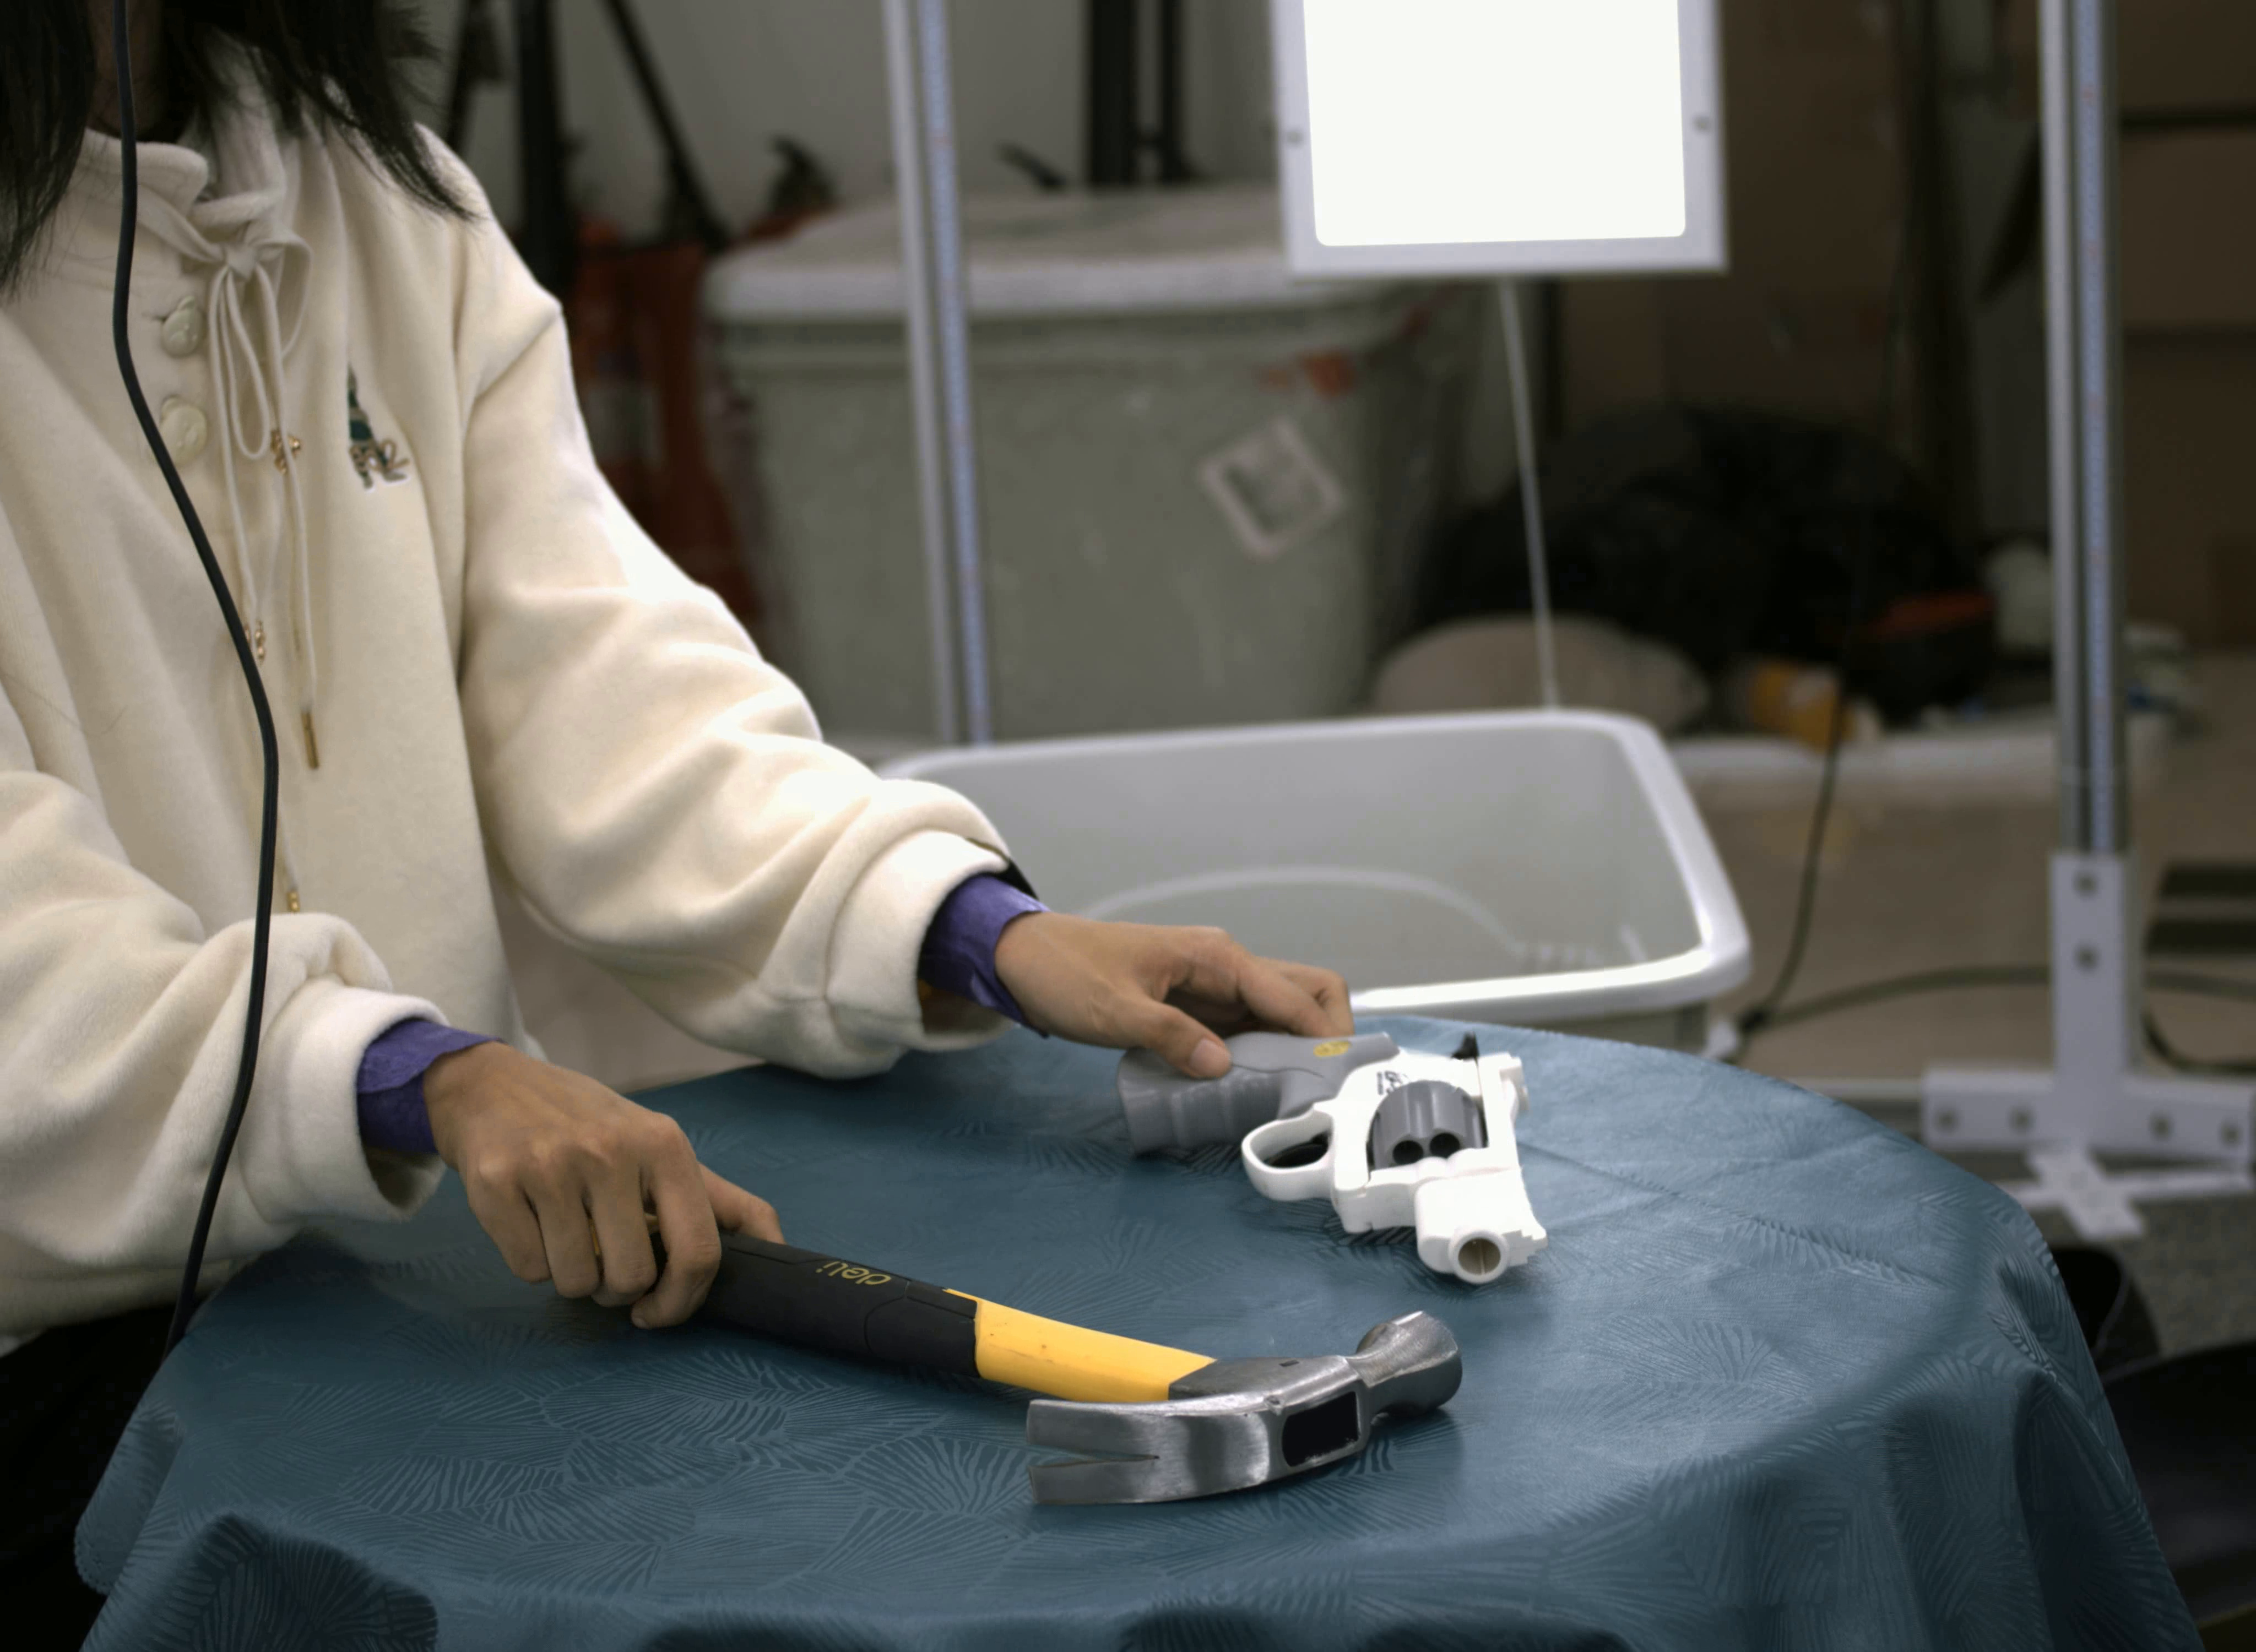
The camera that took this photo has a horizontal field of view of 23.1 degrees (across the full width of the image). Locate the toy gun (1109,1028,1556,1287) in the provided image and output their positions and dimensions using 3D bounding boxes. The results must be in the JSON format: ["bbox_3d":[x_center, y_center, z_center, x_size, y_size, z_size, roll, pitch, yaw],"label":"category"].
[{"bbox_3d":[0.067,0.110,1.860,0.142,0.039,0.208,-13,21,4],"label":"toy gun"}]

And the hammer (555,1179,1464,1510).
[{"bbox_3d":[-0.062,0.154,1.733,0.128,0.032,0.346,-20,21,-41],"label":"hammer"}]
